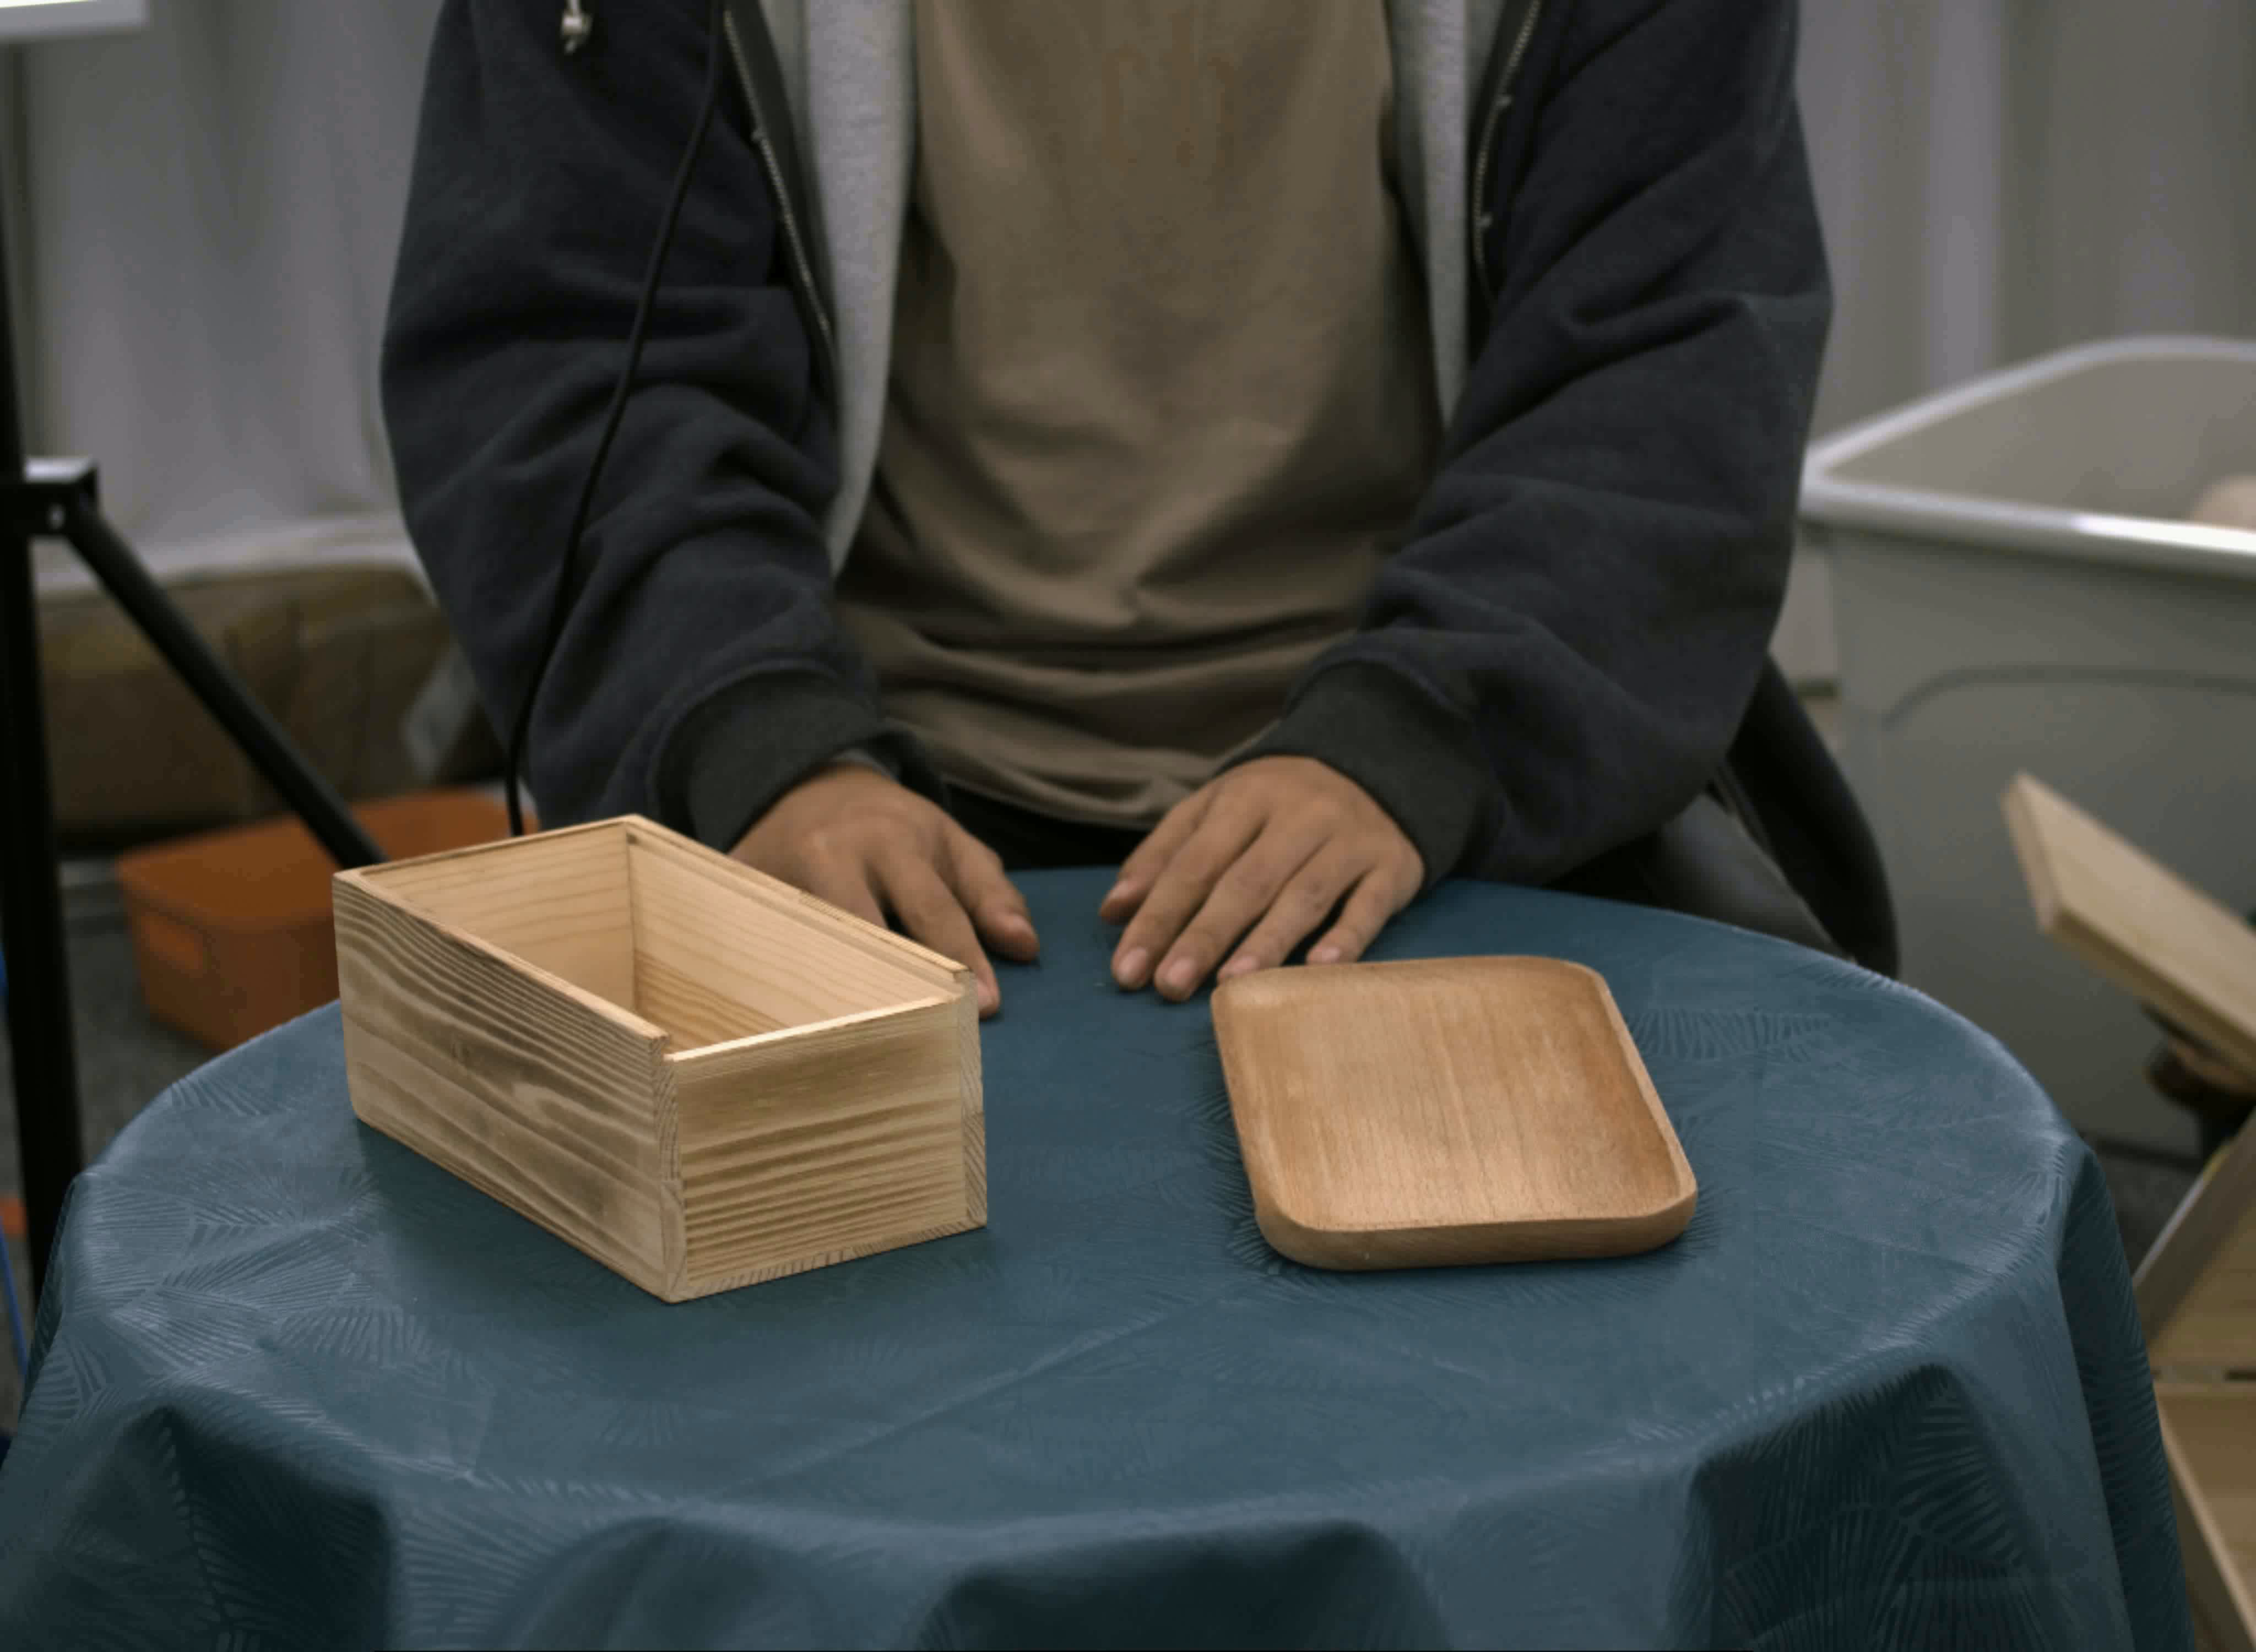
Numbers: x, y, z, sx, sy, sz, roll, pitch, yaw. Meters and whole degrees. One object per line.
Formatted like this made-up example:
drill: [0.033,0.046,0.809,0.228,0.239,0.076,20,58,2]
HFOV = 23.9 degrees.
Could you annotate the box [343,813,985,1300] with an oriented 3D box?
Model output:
box: [-0.141,0.065,1.592,0.105,0.080,0.216,-11,18,-30]

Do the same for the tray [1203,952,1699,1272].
tray: [0.093,0.084,1.599,0.130,0.023,0.252,0,15,-2]
